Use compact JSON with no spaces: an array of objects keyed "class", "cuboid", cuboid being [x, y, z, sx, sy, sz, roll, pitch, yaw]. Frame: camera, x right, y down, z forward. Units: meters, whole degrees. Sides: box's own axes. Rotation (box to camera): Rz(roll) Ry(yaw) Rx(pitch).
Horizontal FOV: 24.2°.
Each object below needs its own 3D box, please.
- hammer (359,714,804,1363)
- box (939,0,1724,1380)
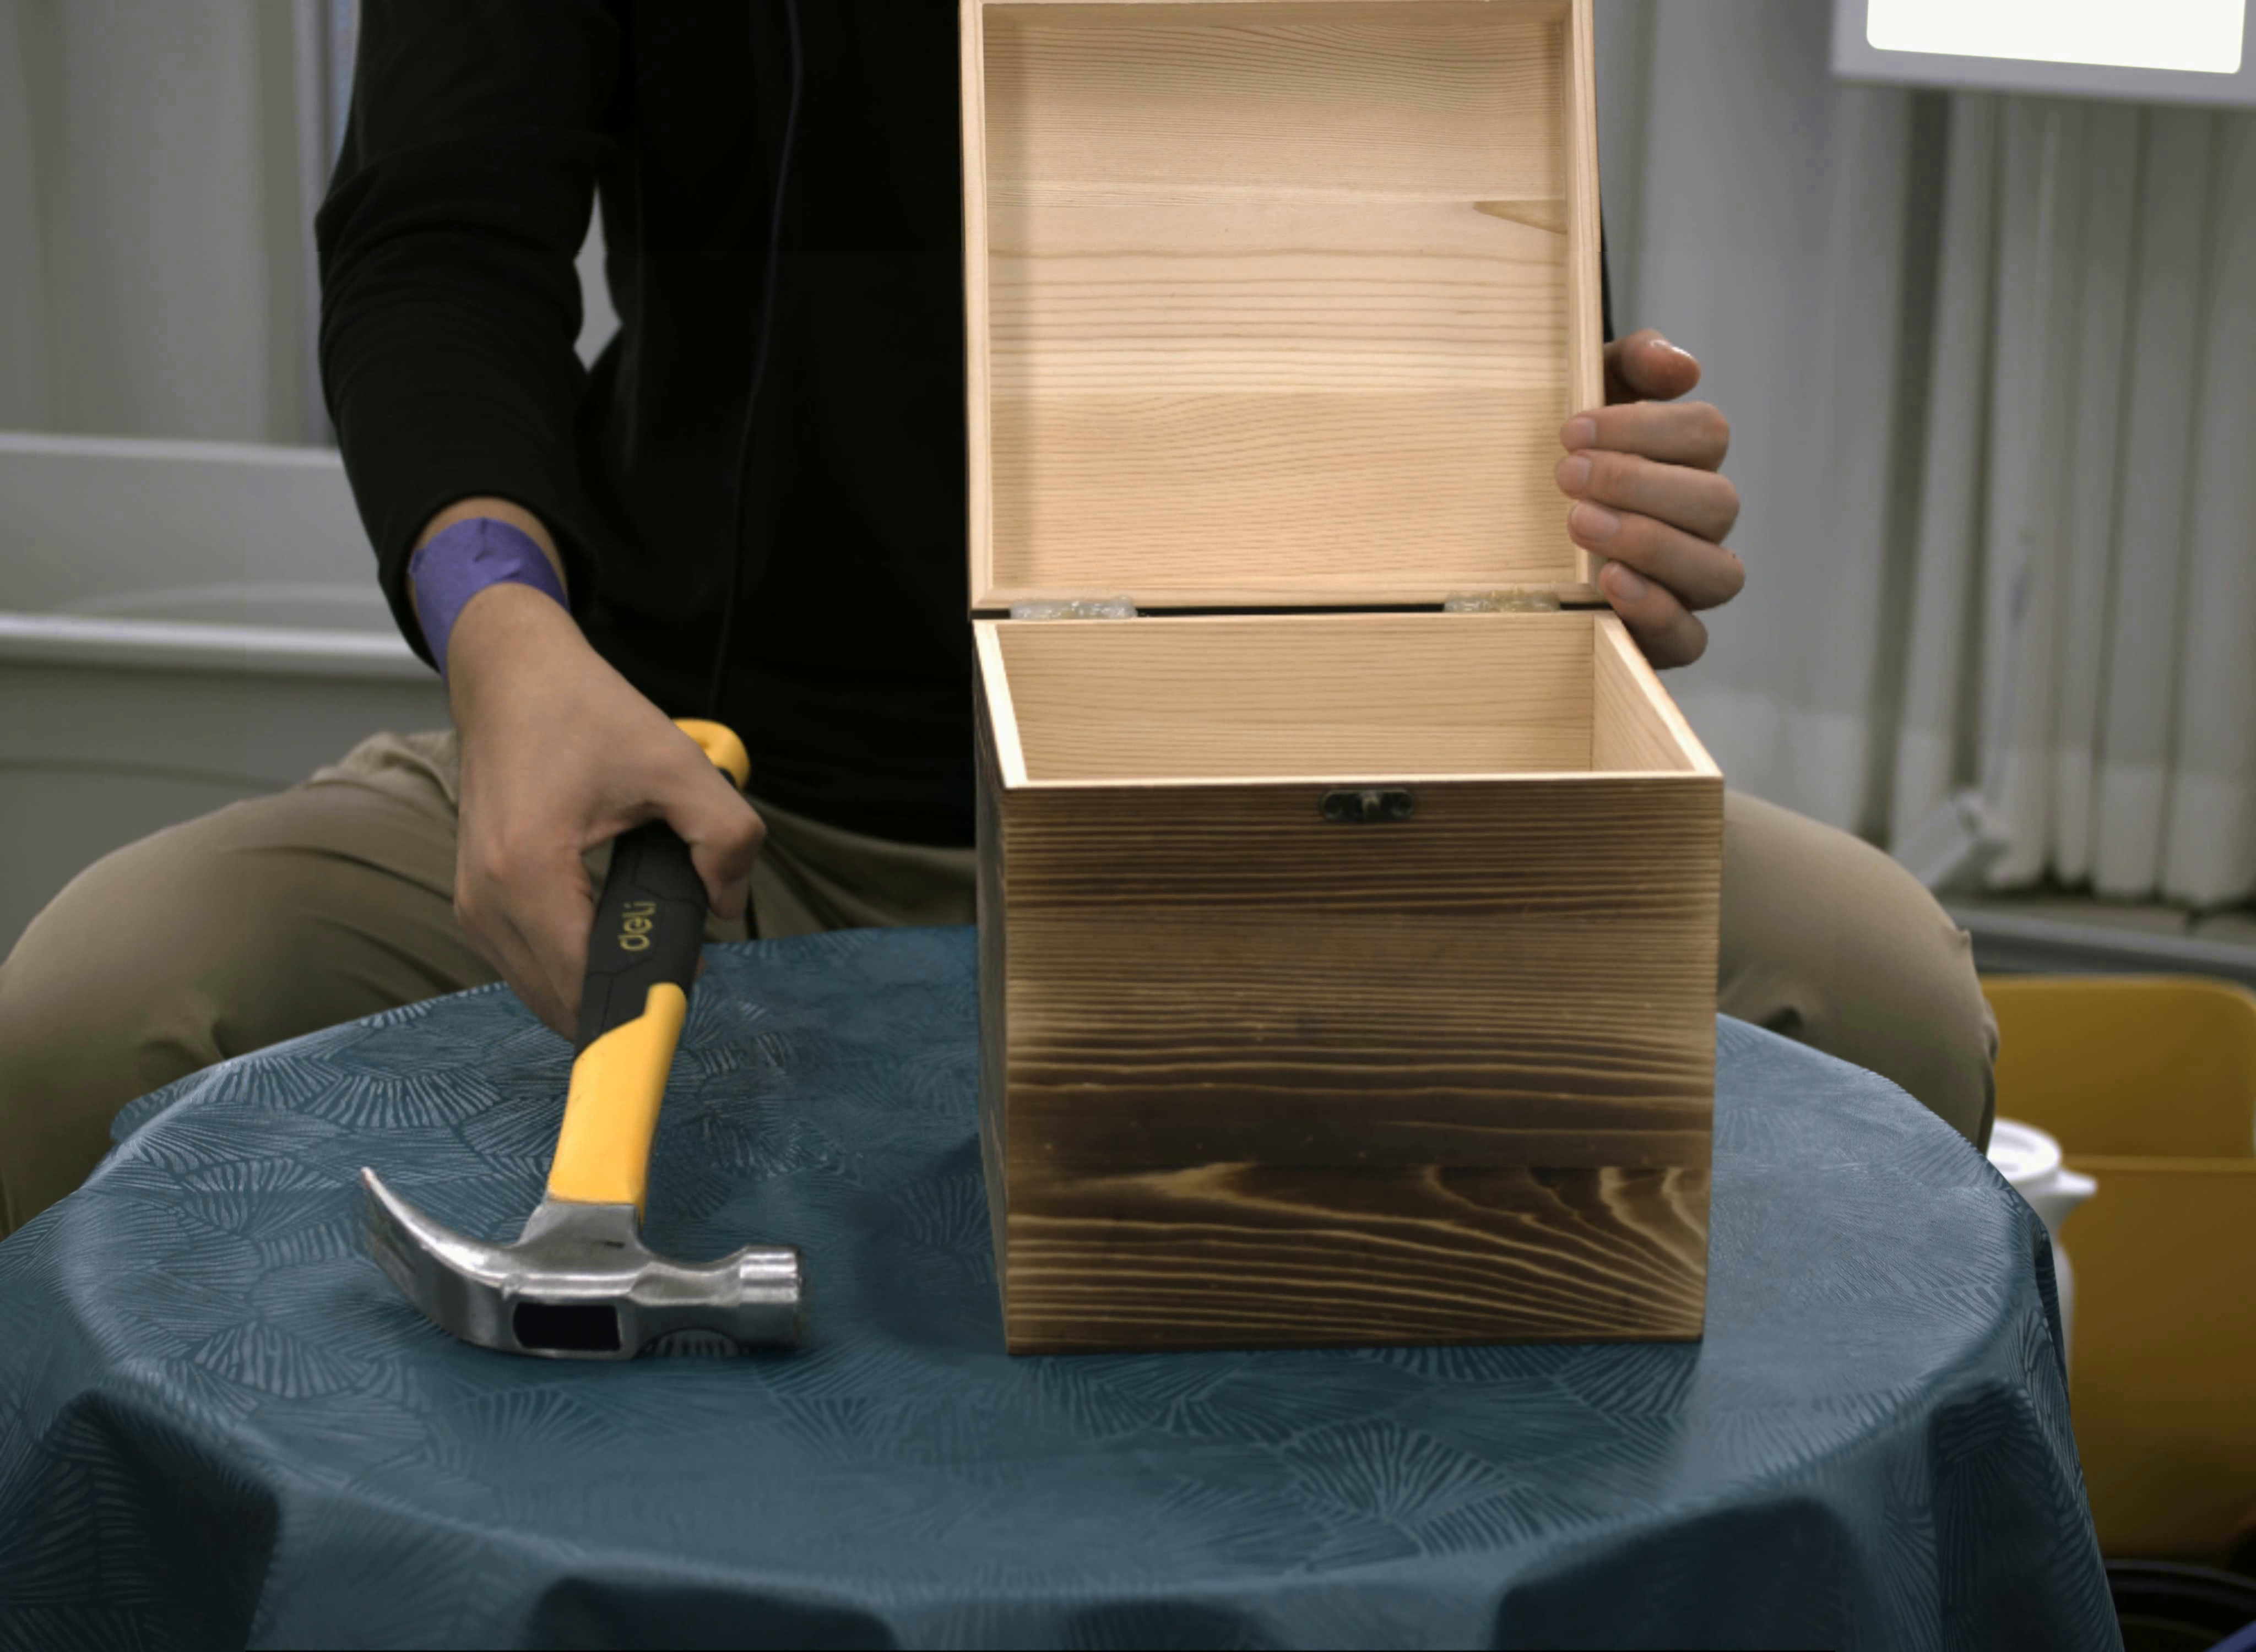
[{"class":"hammer","cuboid":[-0.151,0.055,1.618,0.131,0.032,0.336,0,30,3]},{"class":"box","cuboid":[0.054,-0.063,1.588,0.208,0.378,0.320,-2,15,-4]}]
